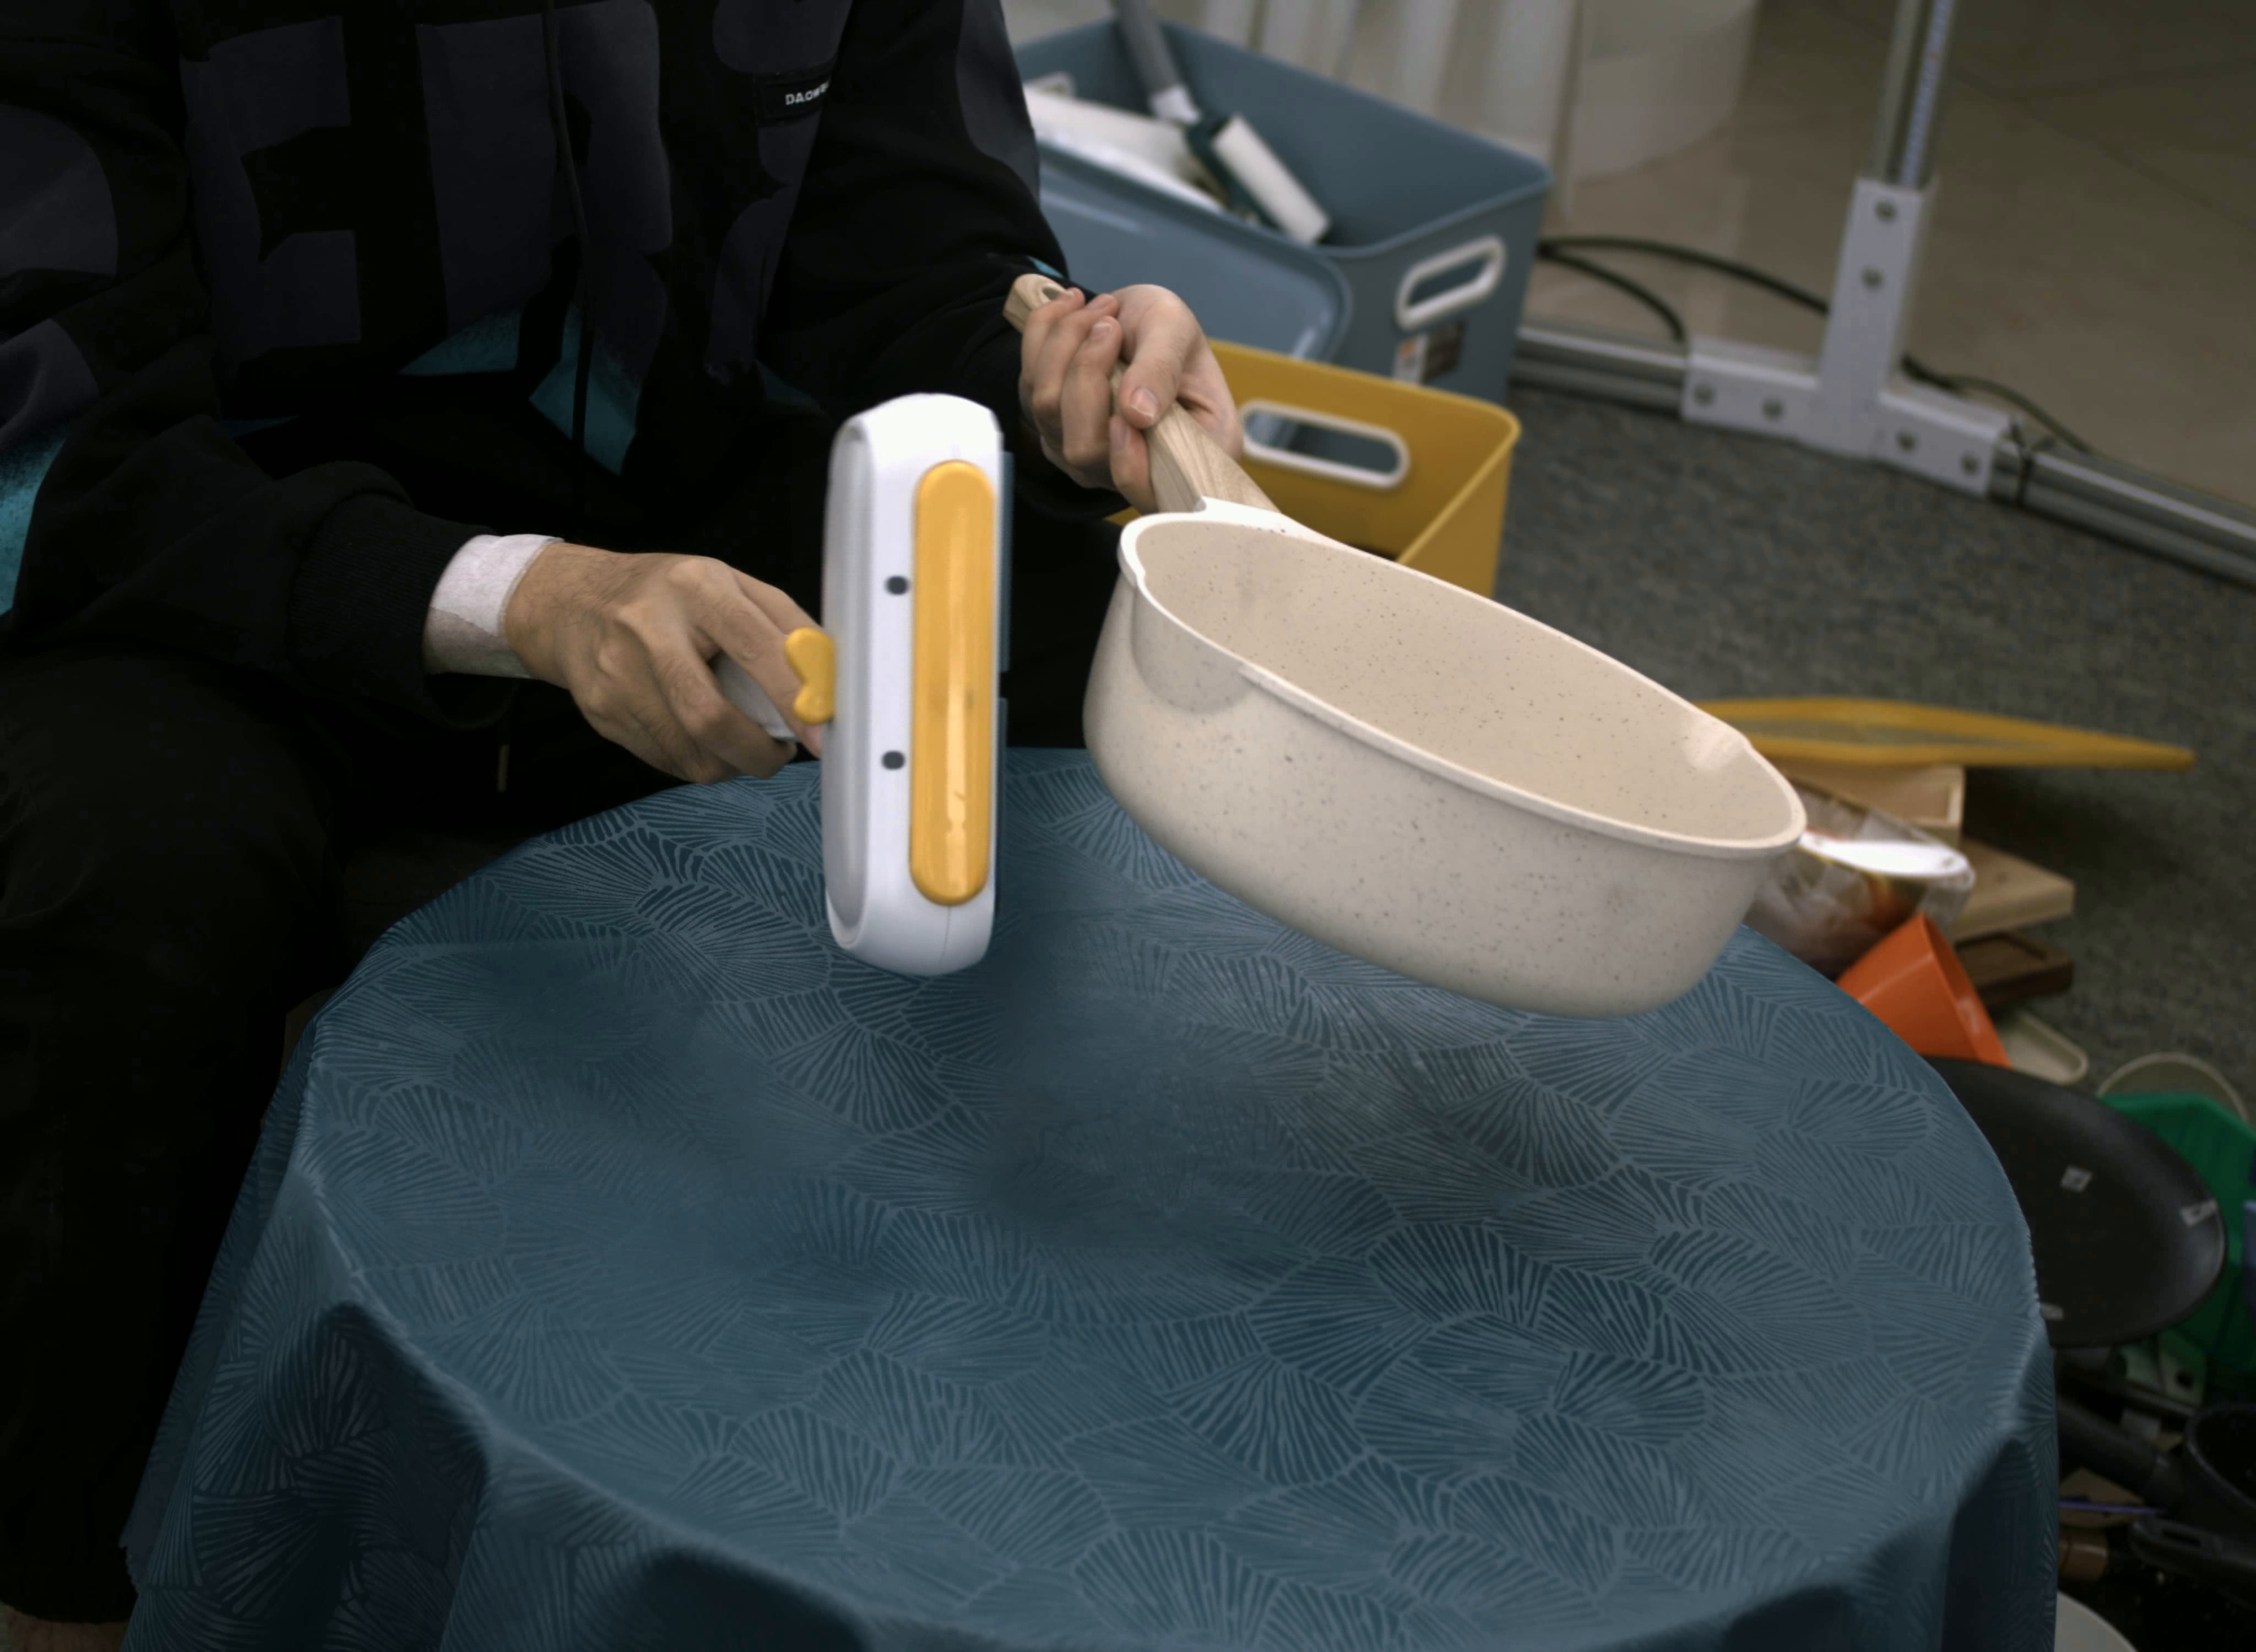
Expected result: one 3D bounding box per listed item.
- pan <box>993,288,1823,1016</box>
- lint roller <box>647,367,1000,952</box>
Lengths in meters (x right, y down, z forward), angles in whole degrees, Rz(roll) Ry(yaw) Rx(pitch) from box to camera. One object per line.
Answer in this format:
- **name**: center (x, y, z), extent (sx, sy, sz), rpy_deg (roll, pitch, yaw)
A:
- **pan**: center (0.058, -0.063, 1.869), extent (0.261, 0.102, 0.439), rpy_deg (7, 22, -37)
- **lint roller**: center (-0.105, -0.050, 1.813), extent (0.073, 0.193, 0.193), rpy_deg (-5, -2, -25)
